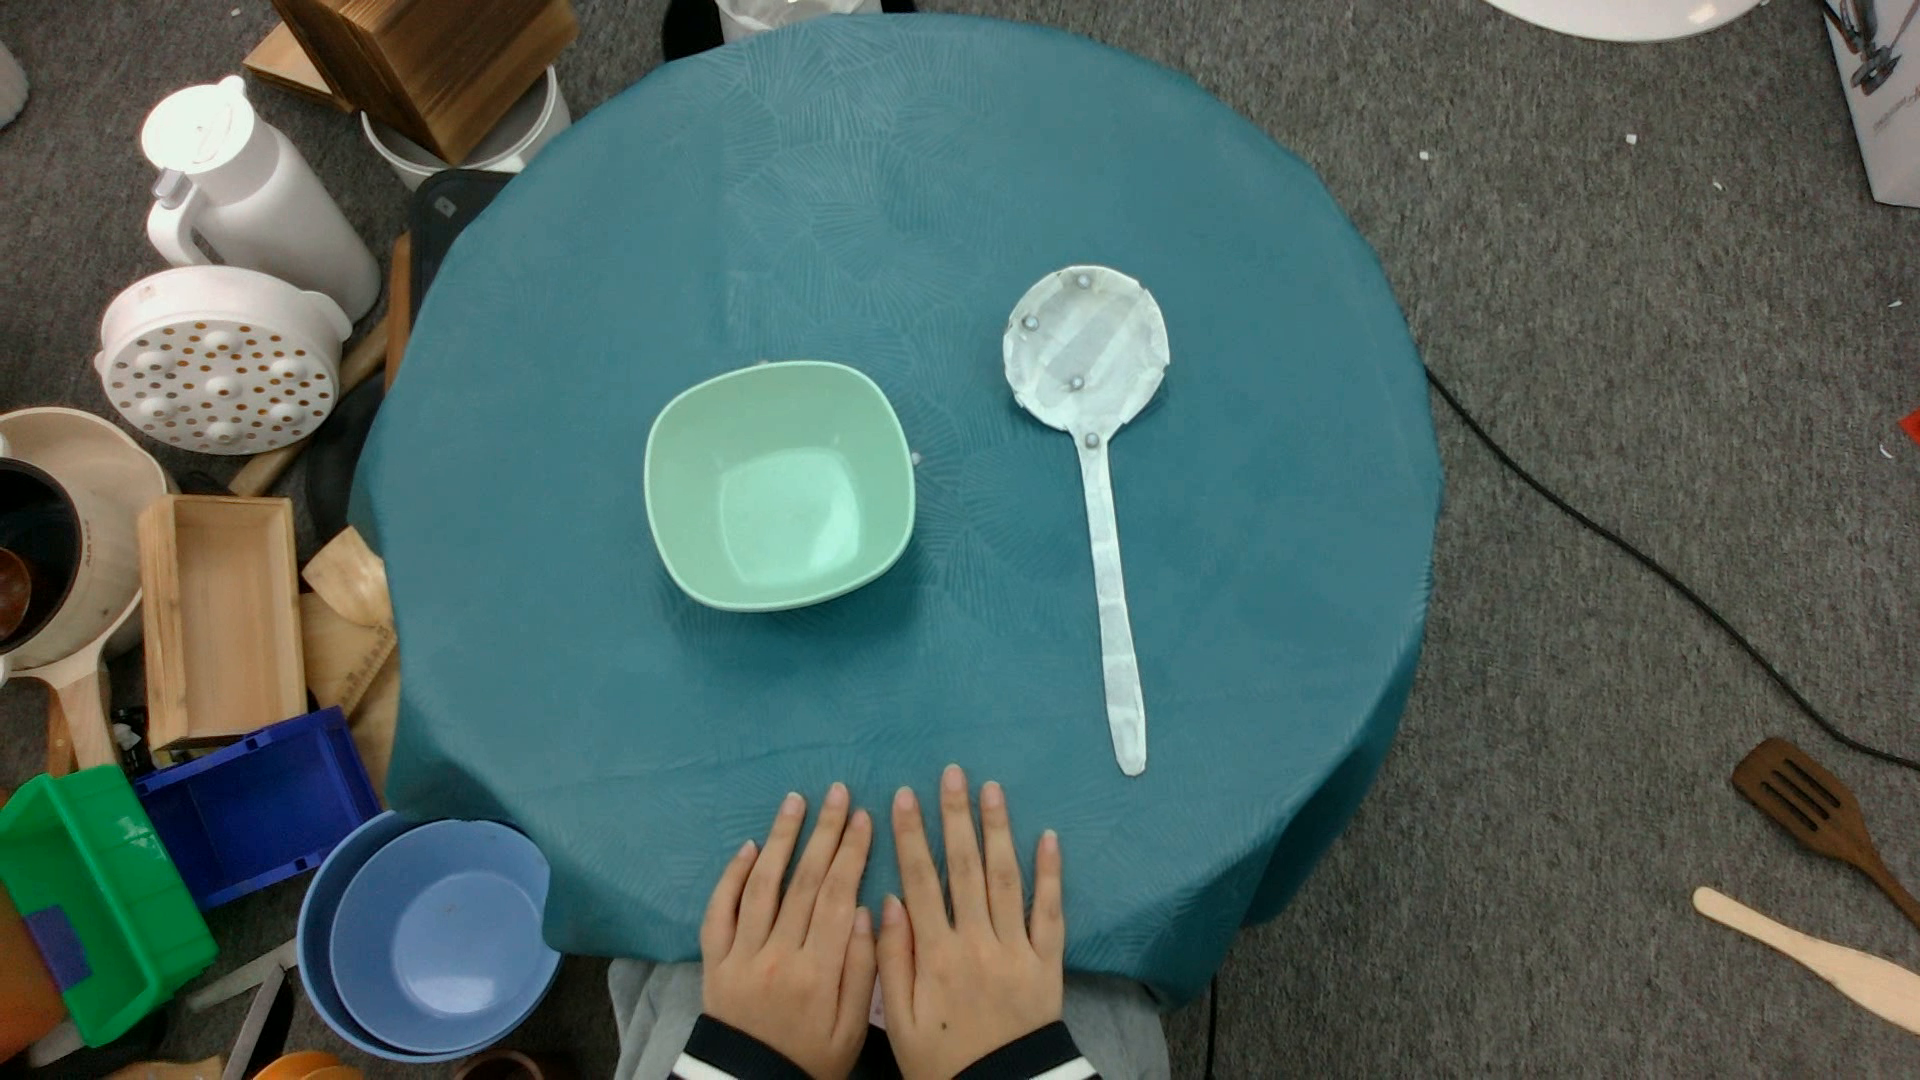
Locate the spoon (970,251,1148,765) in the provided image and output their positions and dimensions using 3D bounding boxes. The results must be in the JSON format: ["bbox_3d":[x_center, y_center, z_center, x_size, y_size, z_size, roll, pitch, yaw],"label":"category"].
[{"bbox_3d":[0.059,-0.022,0.737,0.100,0.059,0.278,-3,68,2],"label":"spoon"}]

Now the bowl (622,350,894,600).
[{"bbox_3d":[-0.106,-0.027,0.738,0.151,0.058,0.152,1,68,-1],"label":"bowl"}]
